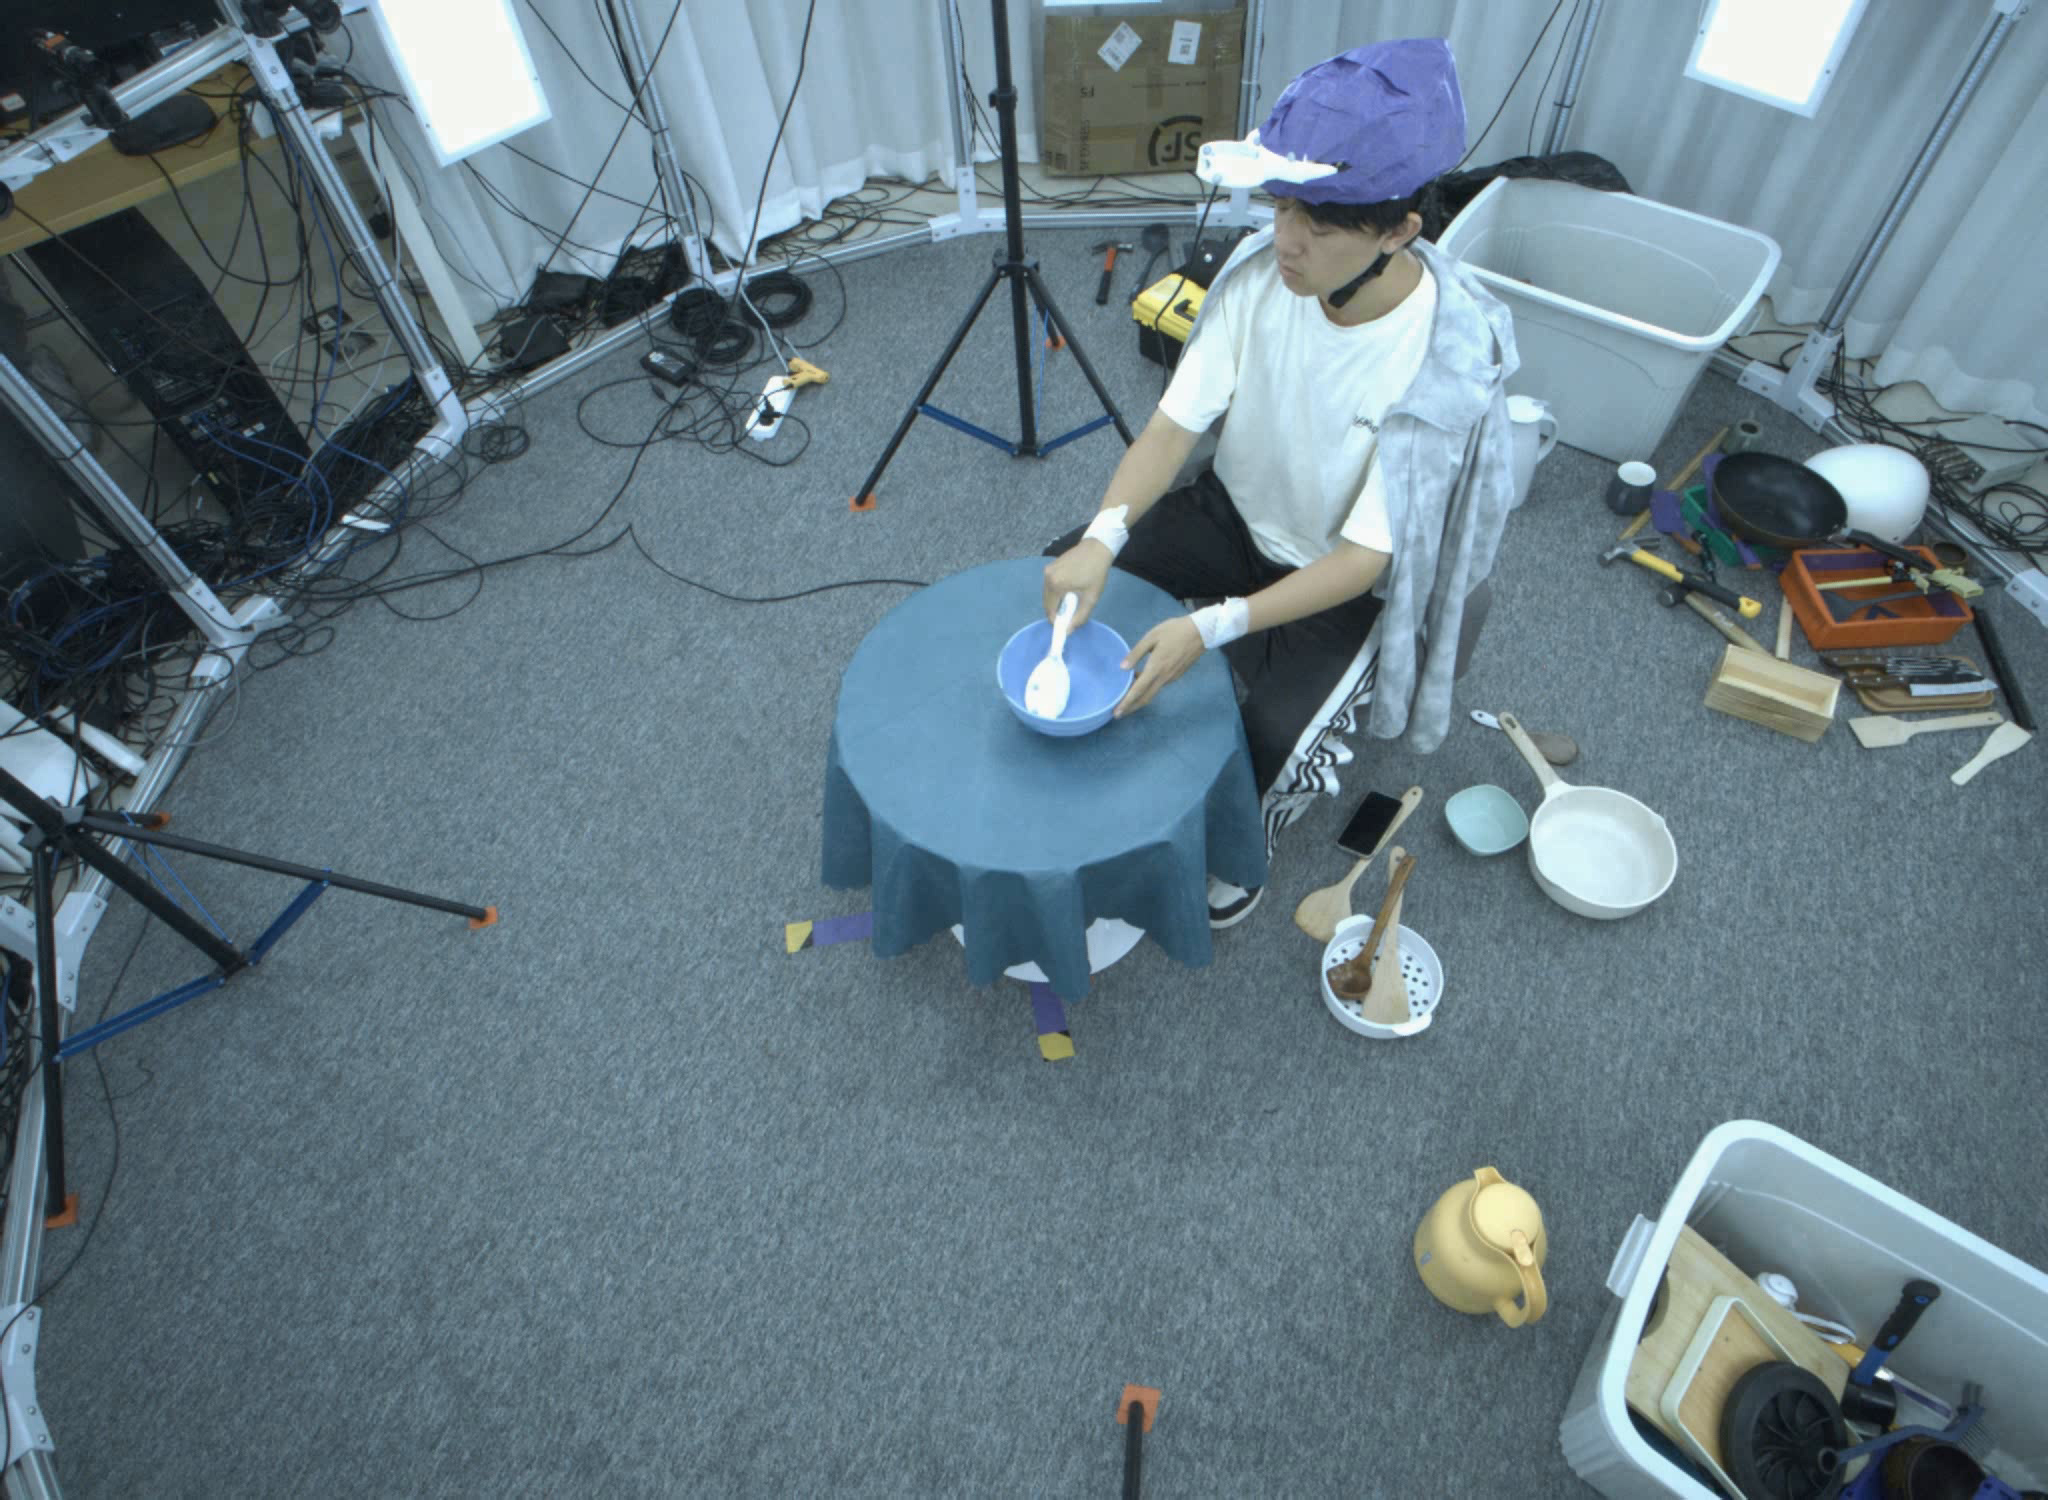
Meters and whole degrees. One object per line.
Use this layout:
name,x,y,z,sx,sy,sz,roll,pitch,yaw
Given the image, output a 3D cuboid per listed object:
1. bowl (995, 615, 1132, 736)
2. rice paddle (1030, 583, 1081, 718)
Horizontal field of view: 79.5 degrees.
bowl,0.061,-0.093,1.793,0.196,0.096,0.194,-2,55,4
rice paddle,0.052,-0.140,1.793,0.068,0.030,0.205,9,89,16
